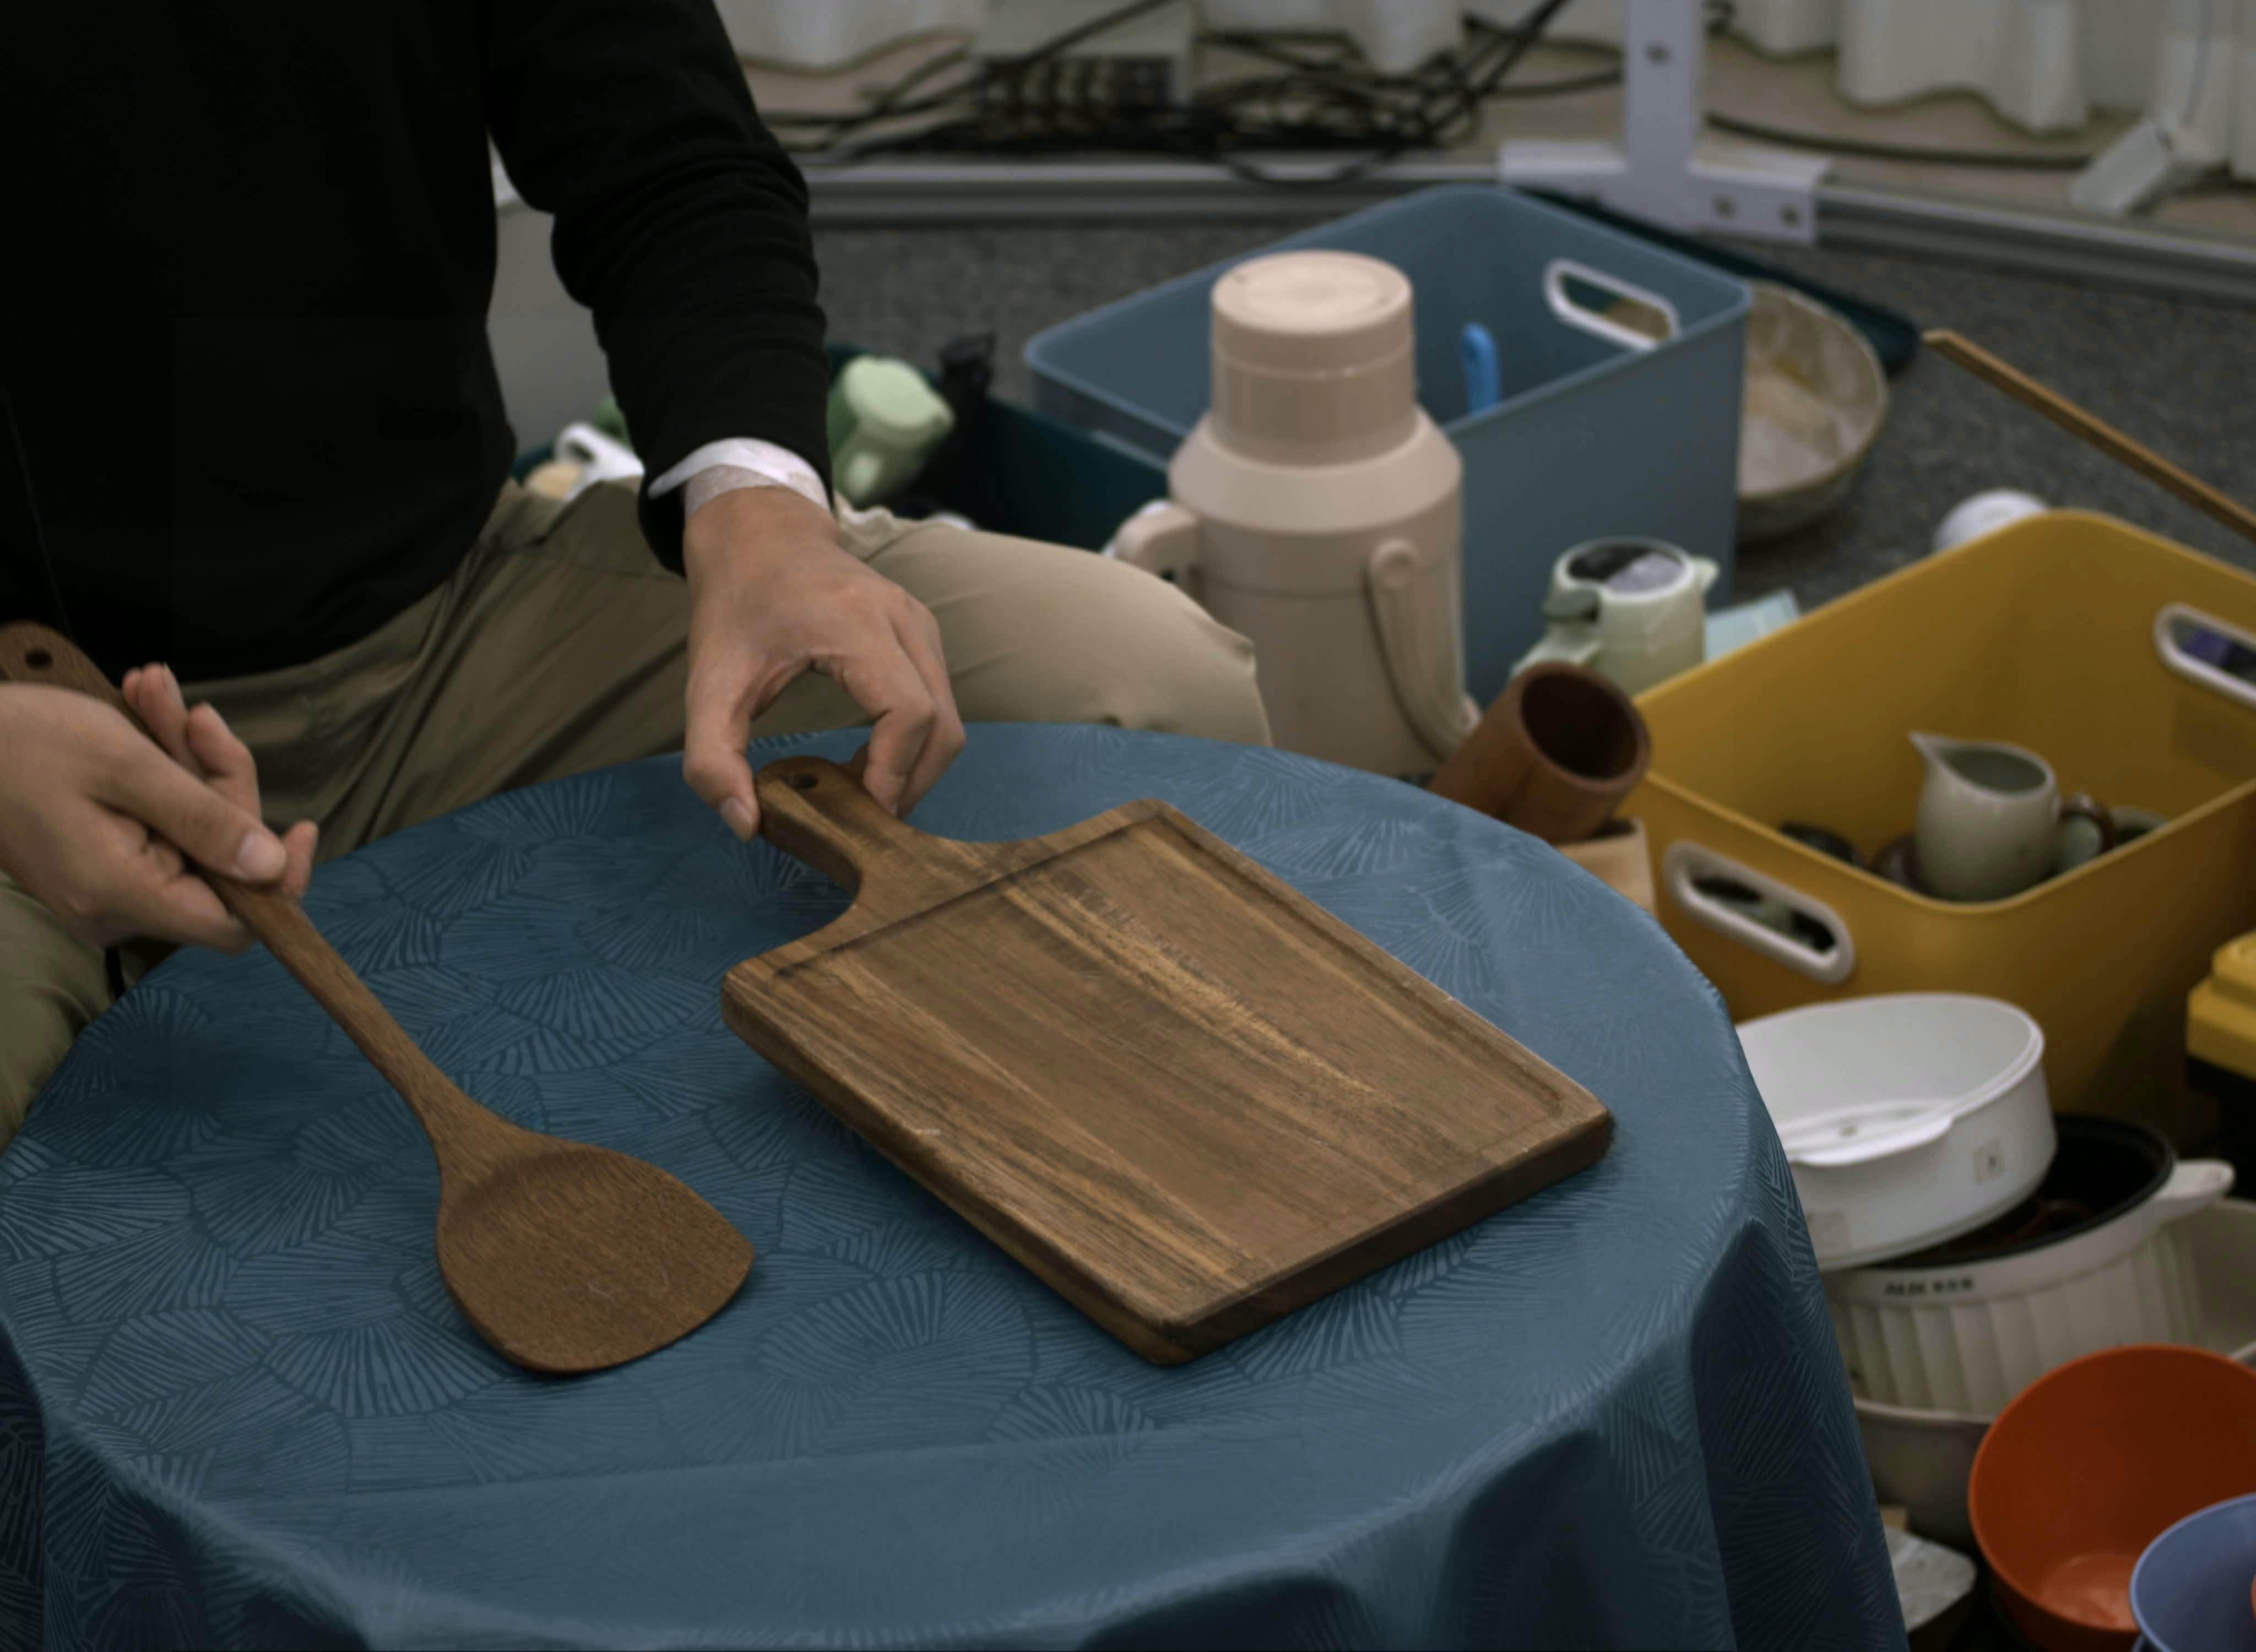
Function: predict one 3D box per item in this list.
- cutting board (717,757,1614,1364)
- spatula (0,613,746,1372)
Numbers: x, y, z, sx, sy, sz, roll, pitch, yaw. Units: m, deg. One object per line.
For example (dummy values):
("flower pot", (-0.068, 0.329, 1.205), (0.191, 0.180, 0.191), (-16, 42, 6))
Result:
("cutting board", (-0.020, 0.058, 1.925), (0.203, 0.023, 0.353), (-22, 39, -33))
("spatula", (-0.273, 0.046, 1.882), (0.097, 0.015, 0.388), (-25, 57, -34))
